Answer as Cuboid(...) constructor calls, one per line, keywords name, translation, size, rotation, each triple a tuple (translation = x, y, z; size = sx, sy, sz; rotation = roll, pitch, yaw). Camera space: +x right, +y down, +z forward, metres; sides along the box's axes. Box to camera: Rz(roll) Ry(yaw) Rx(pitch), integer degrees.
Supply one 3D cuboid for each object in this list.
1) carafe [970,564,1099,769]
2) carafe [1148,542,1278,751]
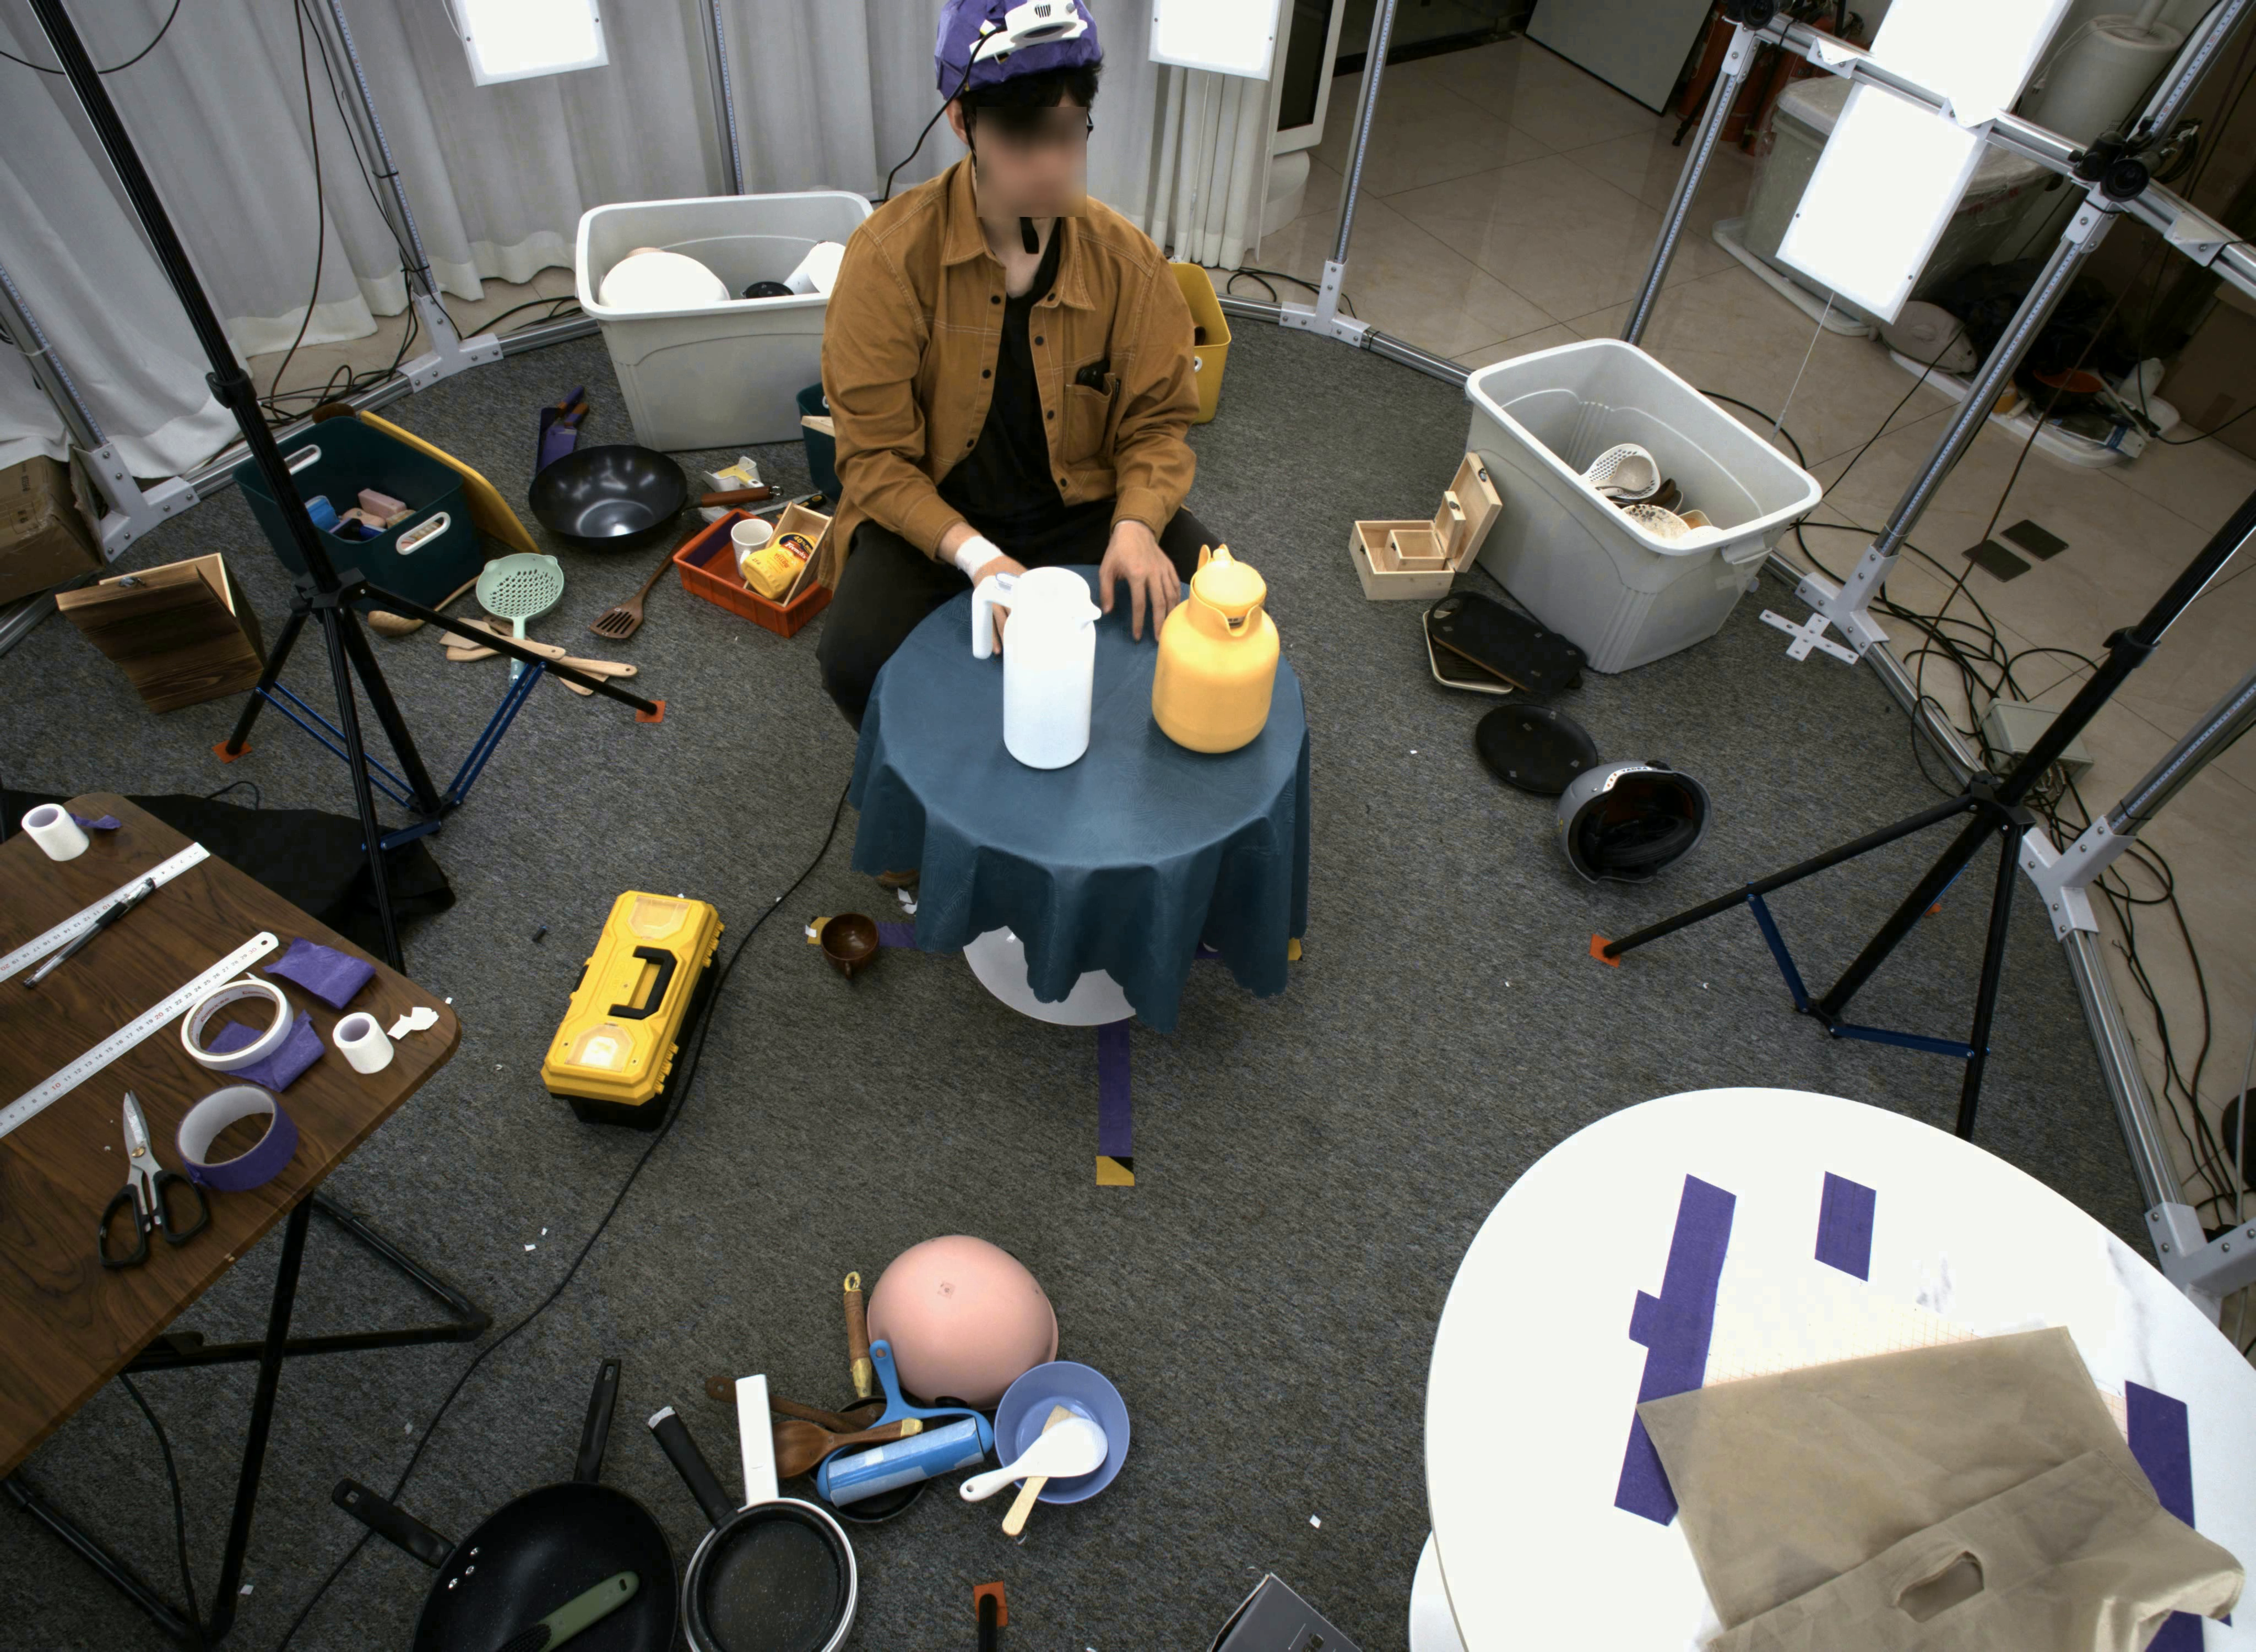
Cuboid(name="carafe", translation=(-0.121, -0.206, 1.668), size=(0.174, 0.262, 0.126), rotation=(20, 53, 13))
Cuboid(name="carafe", translation=(0.117, -0.247, 1.720), size=(0.163, 0.254, 0.207), rotation=(0, 51, -8))
